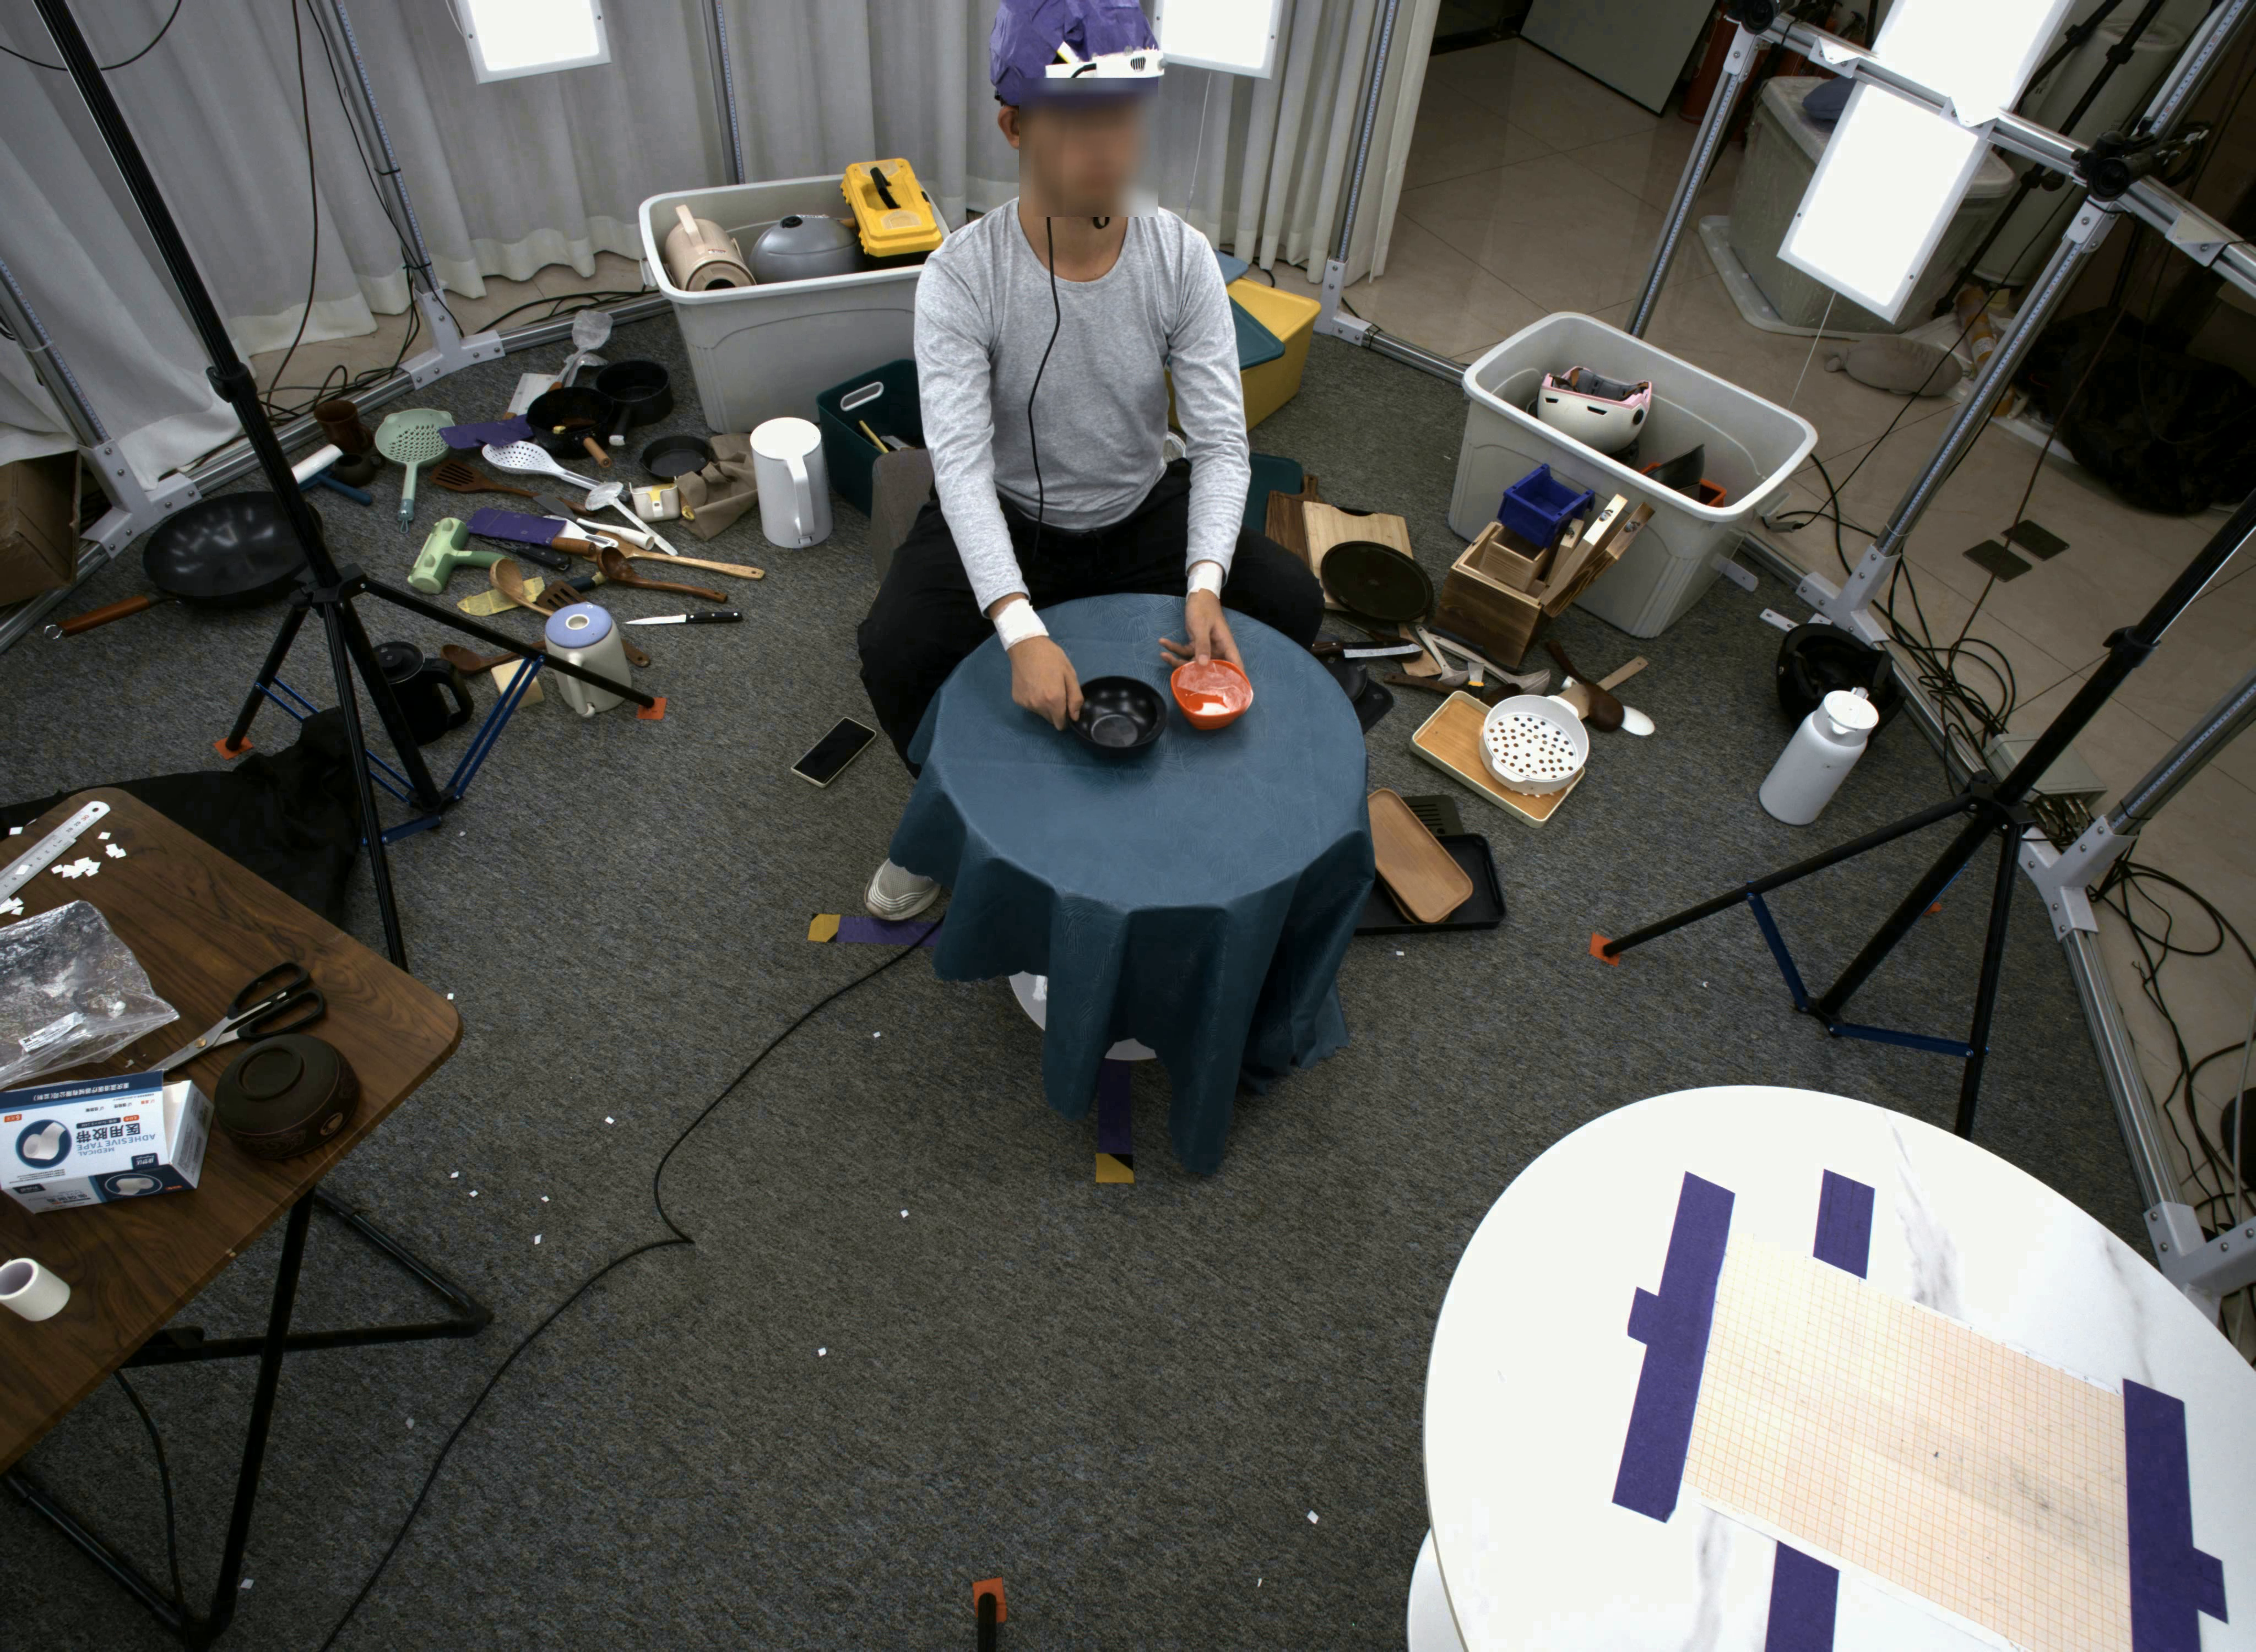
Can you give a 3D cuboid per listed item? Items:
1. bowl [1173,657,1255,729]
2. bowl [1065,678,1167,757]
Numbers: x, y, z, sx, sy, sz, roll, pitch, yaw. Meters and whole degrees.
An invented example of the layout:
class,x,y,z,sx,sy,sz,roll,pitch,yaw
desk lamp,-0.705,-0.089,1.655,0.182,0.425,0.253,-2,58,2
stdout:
class,x,y,z,sx,sy,sz,roll,pitch,yaw
bowl,0.118,-0.179,1.795,0.119,0.050,0.122,2,52,-2
bowl,-0.017,-0.140,1.759,0.140,0.048,0.143,2,45,-2
